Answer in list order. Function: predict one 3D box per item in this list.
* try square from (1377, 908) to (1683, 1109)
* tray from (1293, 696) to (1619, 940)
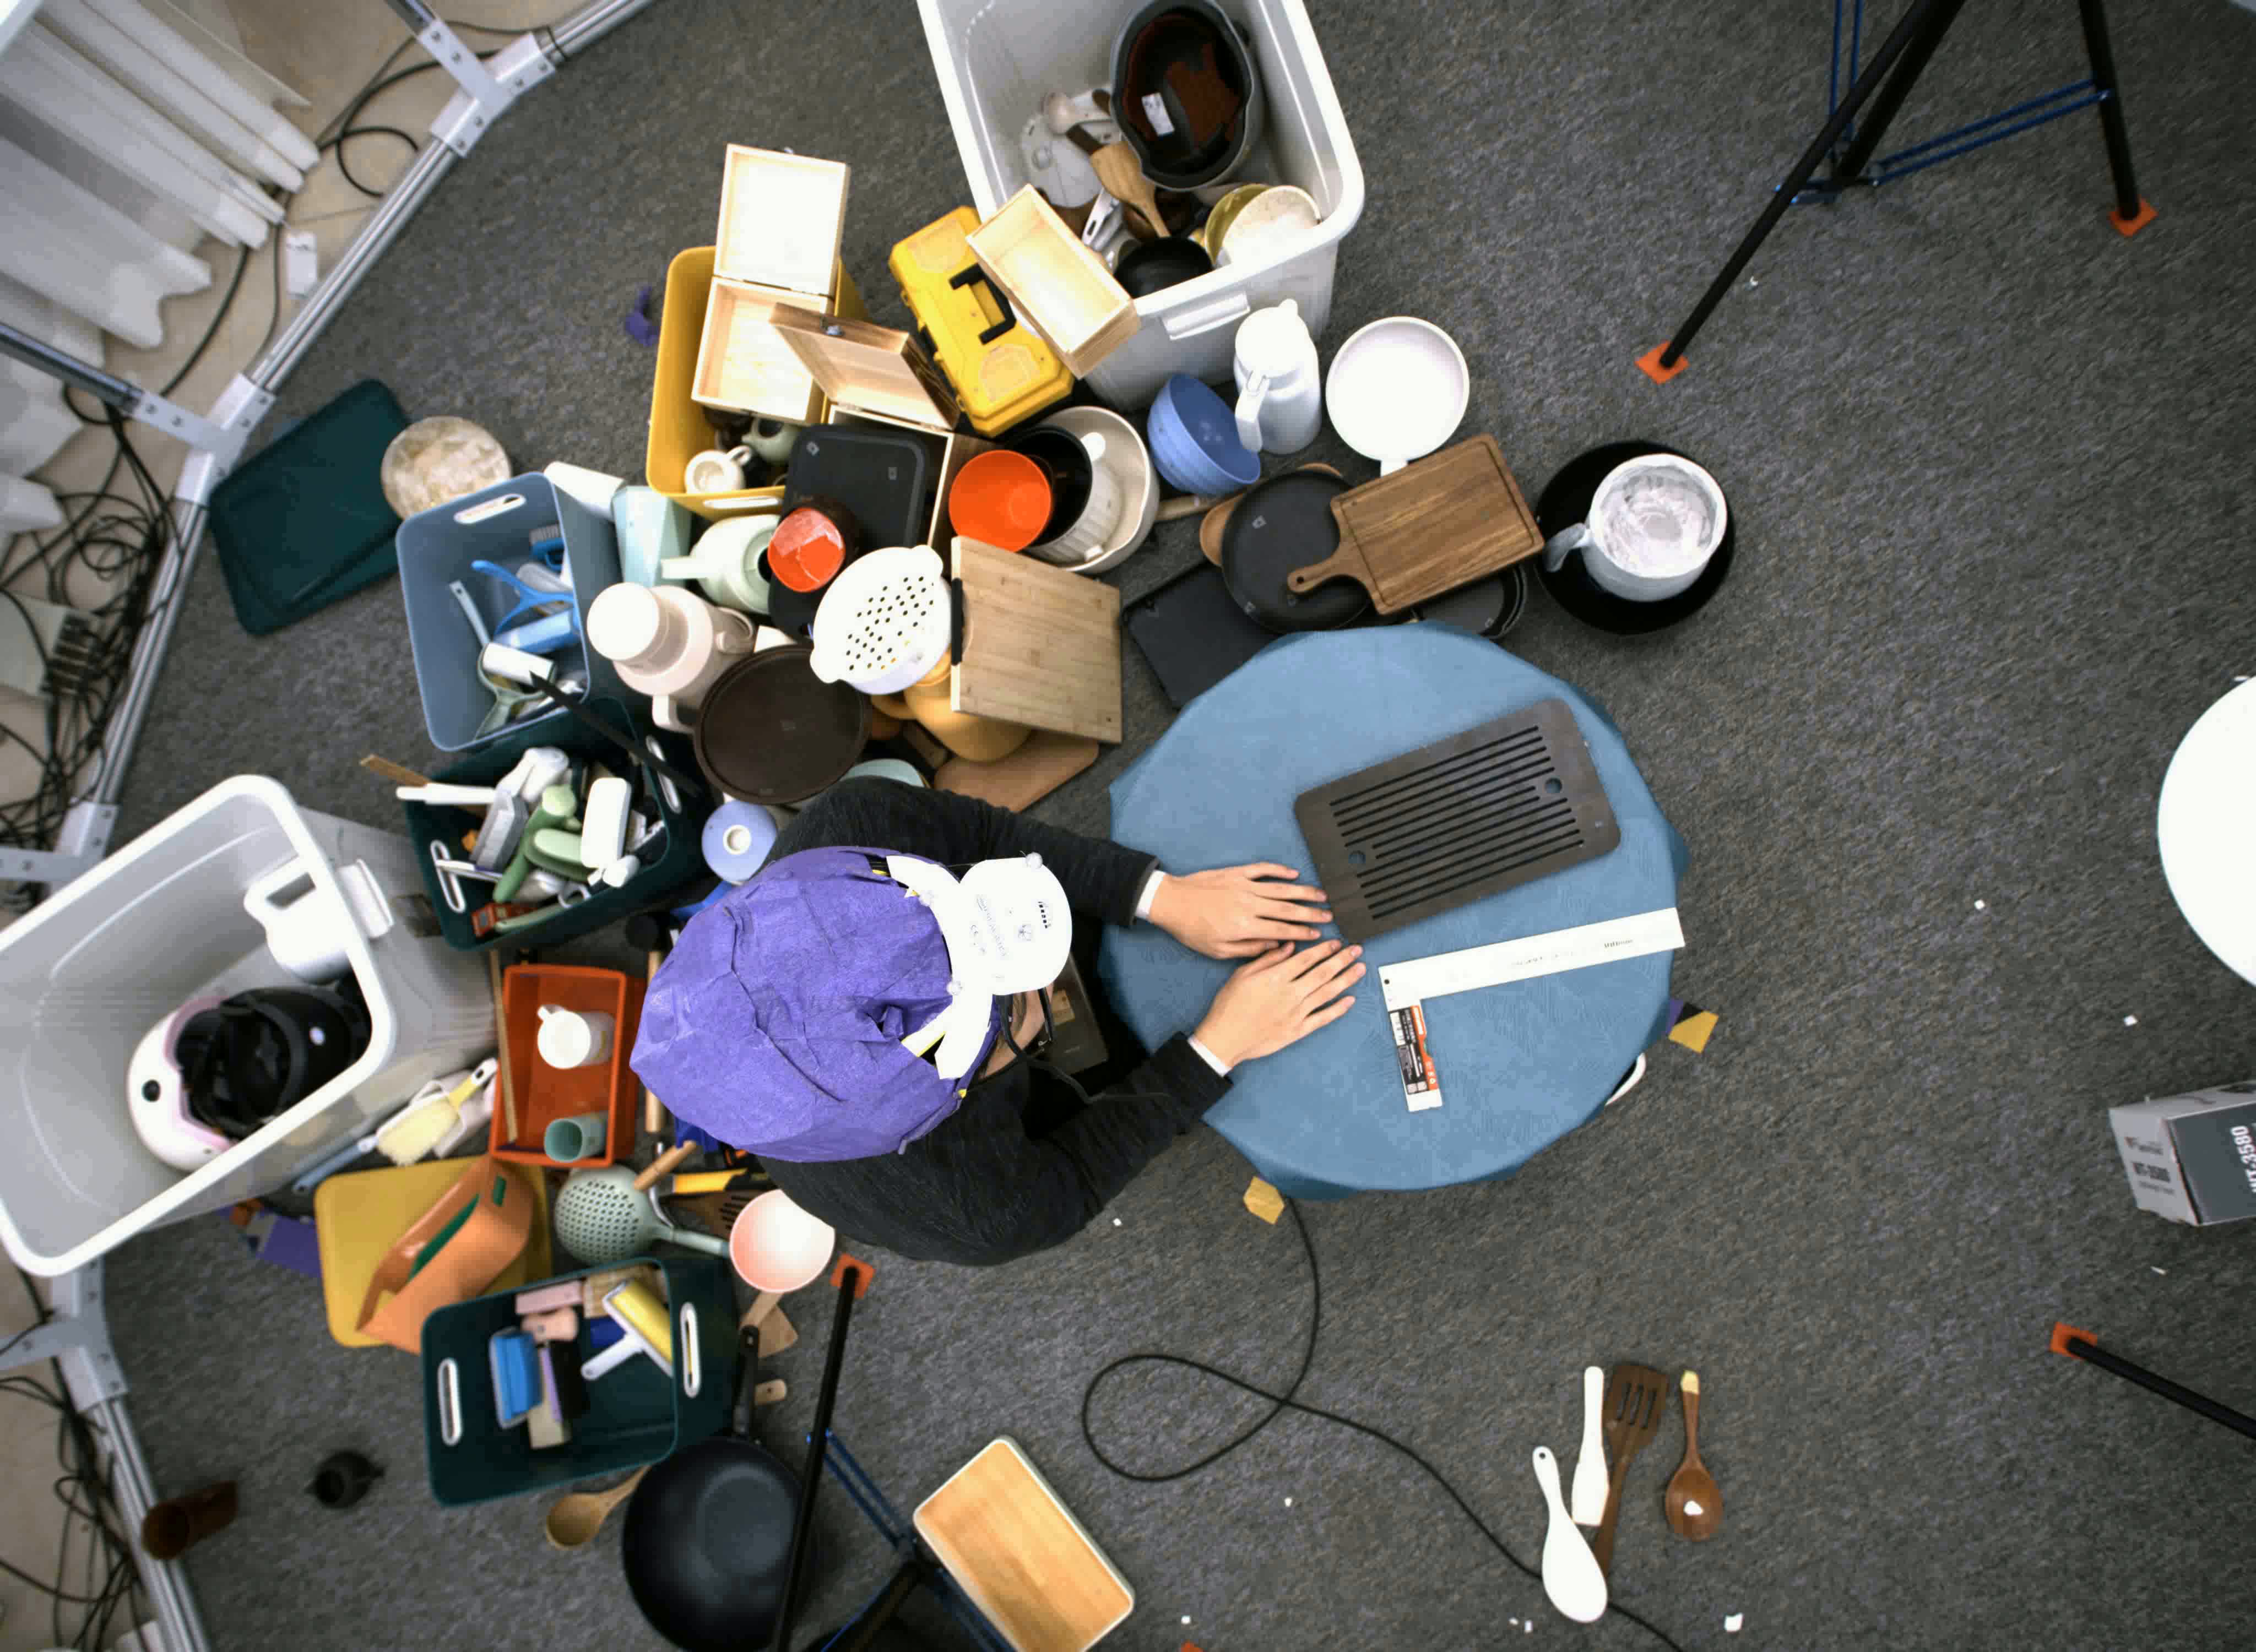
[{"bbox_3d":[0.424,0.186,1.422,0.314,0.016,0.151,-12,86,9],"label":"try square"},{"bbox_3d":[0.341,-0.009,1.442,0.308,0.018,0.169,-21,84,9],"label":"tray"}]
